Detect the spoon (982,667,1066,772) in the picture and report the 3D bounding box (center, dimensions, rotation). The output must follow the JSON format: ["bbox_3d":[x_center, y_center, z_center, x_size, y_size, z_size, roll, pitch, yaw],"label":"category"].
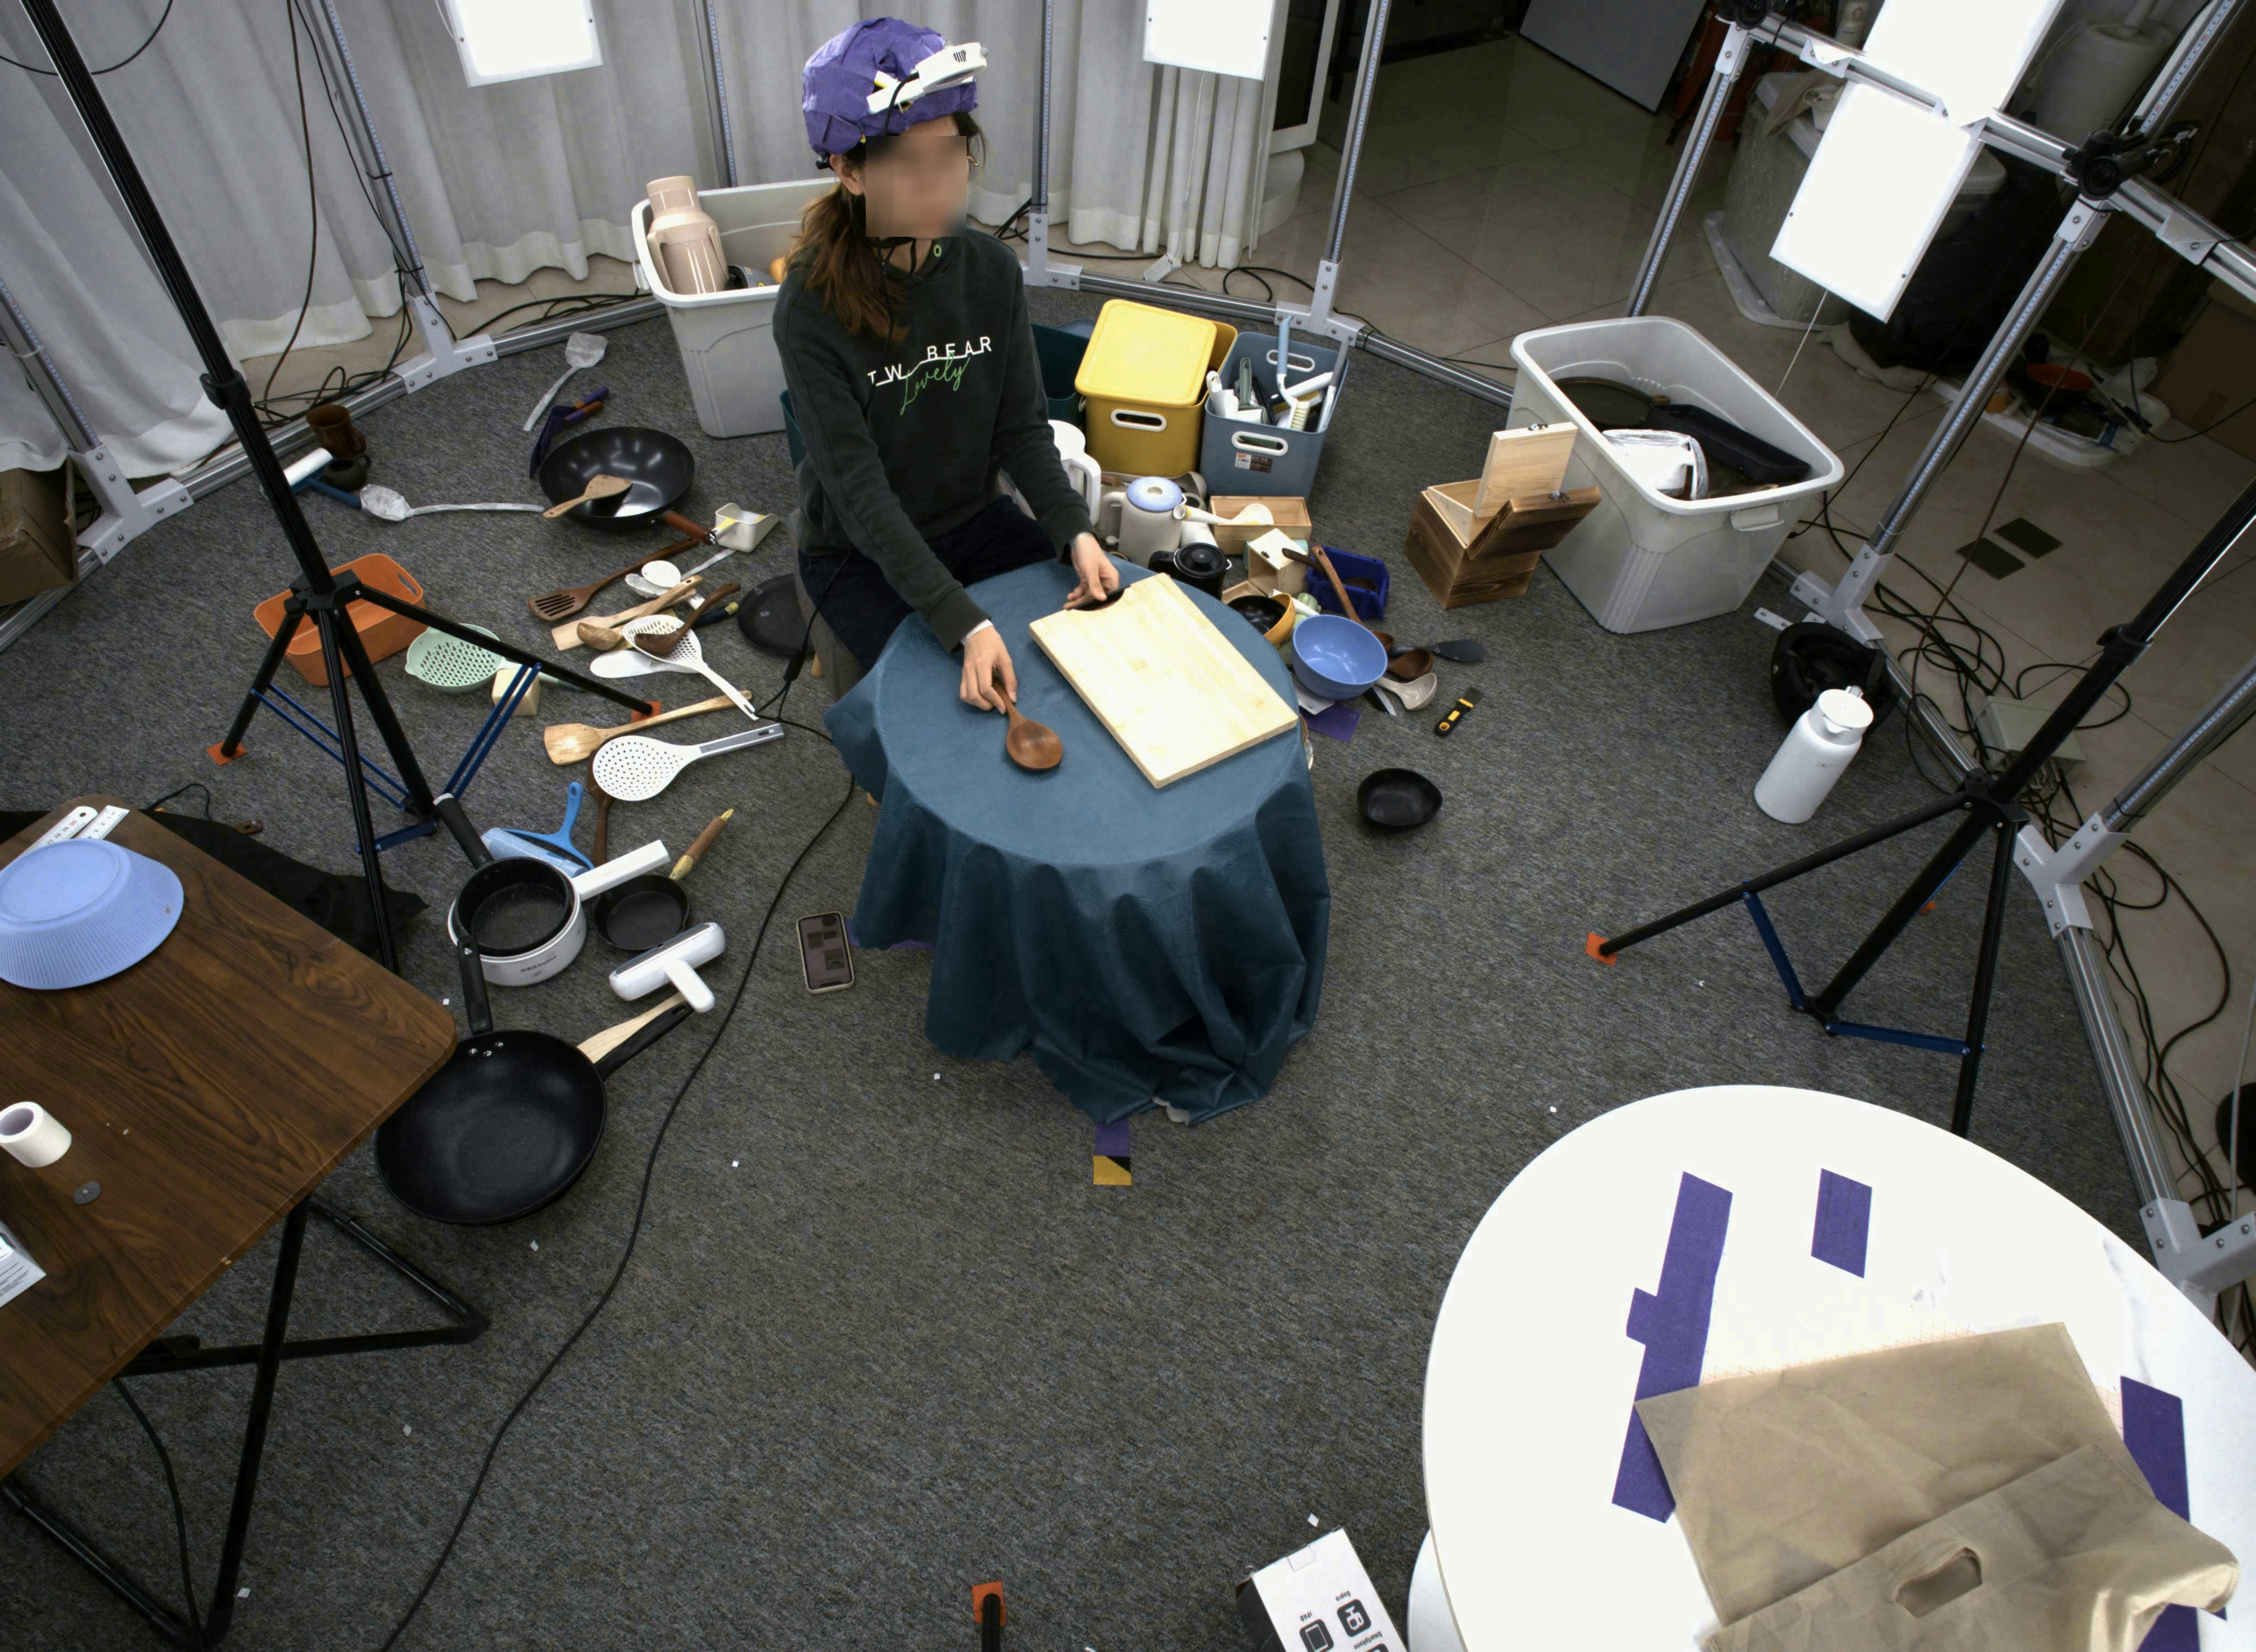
[{"bbox_3d":[-0.153,-0.150,1.793,0.075,0.017,0.220,-20,53,-18],"label":"spoon"}]

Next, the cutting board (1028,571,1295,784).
[{"bbox_3d":[0.044,-0.223,1.861,0.252,0.023,0.355,-25,57,-24],"label":"cutting board"}]
